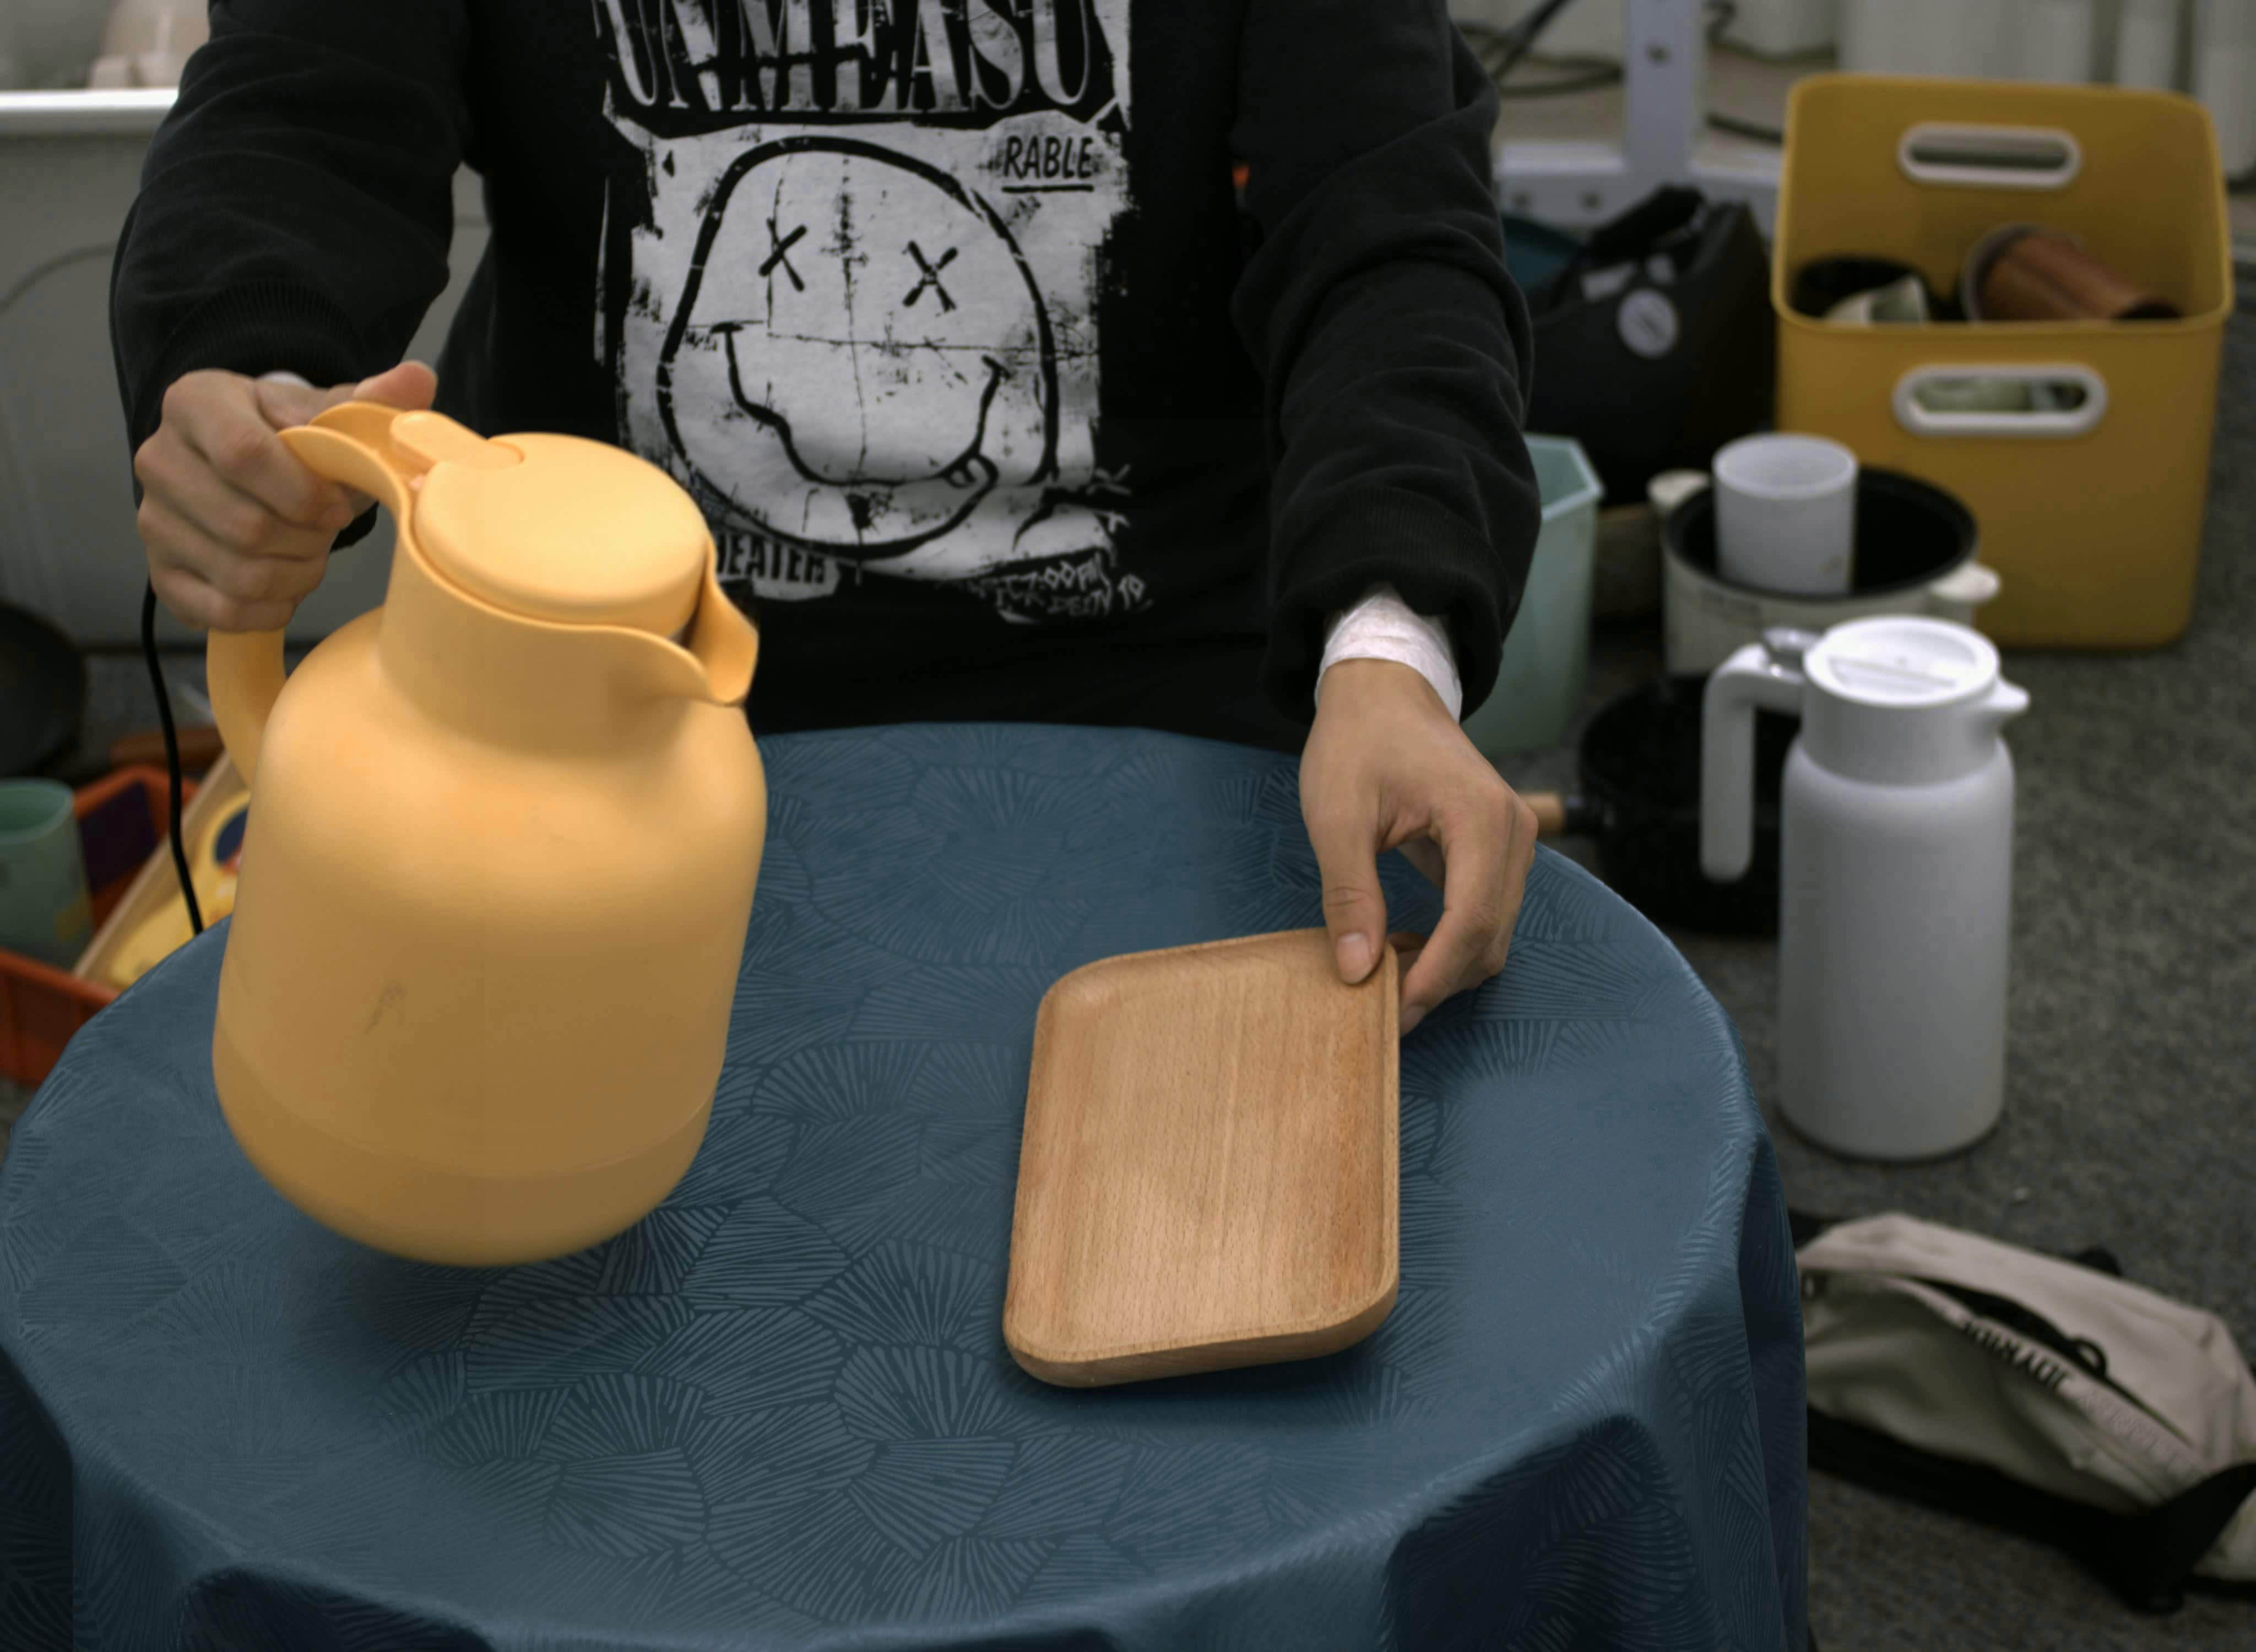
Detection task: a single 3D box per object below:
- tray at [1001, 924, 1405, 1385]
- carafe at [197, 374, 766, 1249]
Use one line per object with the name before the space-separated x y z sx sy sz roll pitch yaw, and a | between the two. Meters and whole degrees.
tray | 0.028 0.105 1.849 0.130 0.022 0.255 -5 27 6
carafe | -0.209 -0.014 1.774 0.203 0.256 0.165 36 37 24
